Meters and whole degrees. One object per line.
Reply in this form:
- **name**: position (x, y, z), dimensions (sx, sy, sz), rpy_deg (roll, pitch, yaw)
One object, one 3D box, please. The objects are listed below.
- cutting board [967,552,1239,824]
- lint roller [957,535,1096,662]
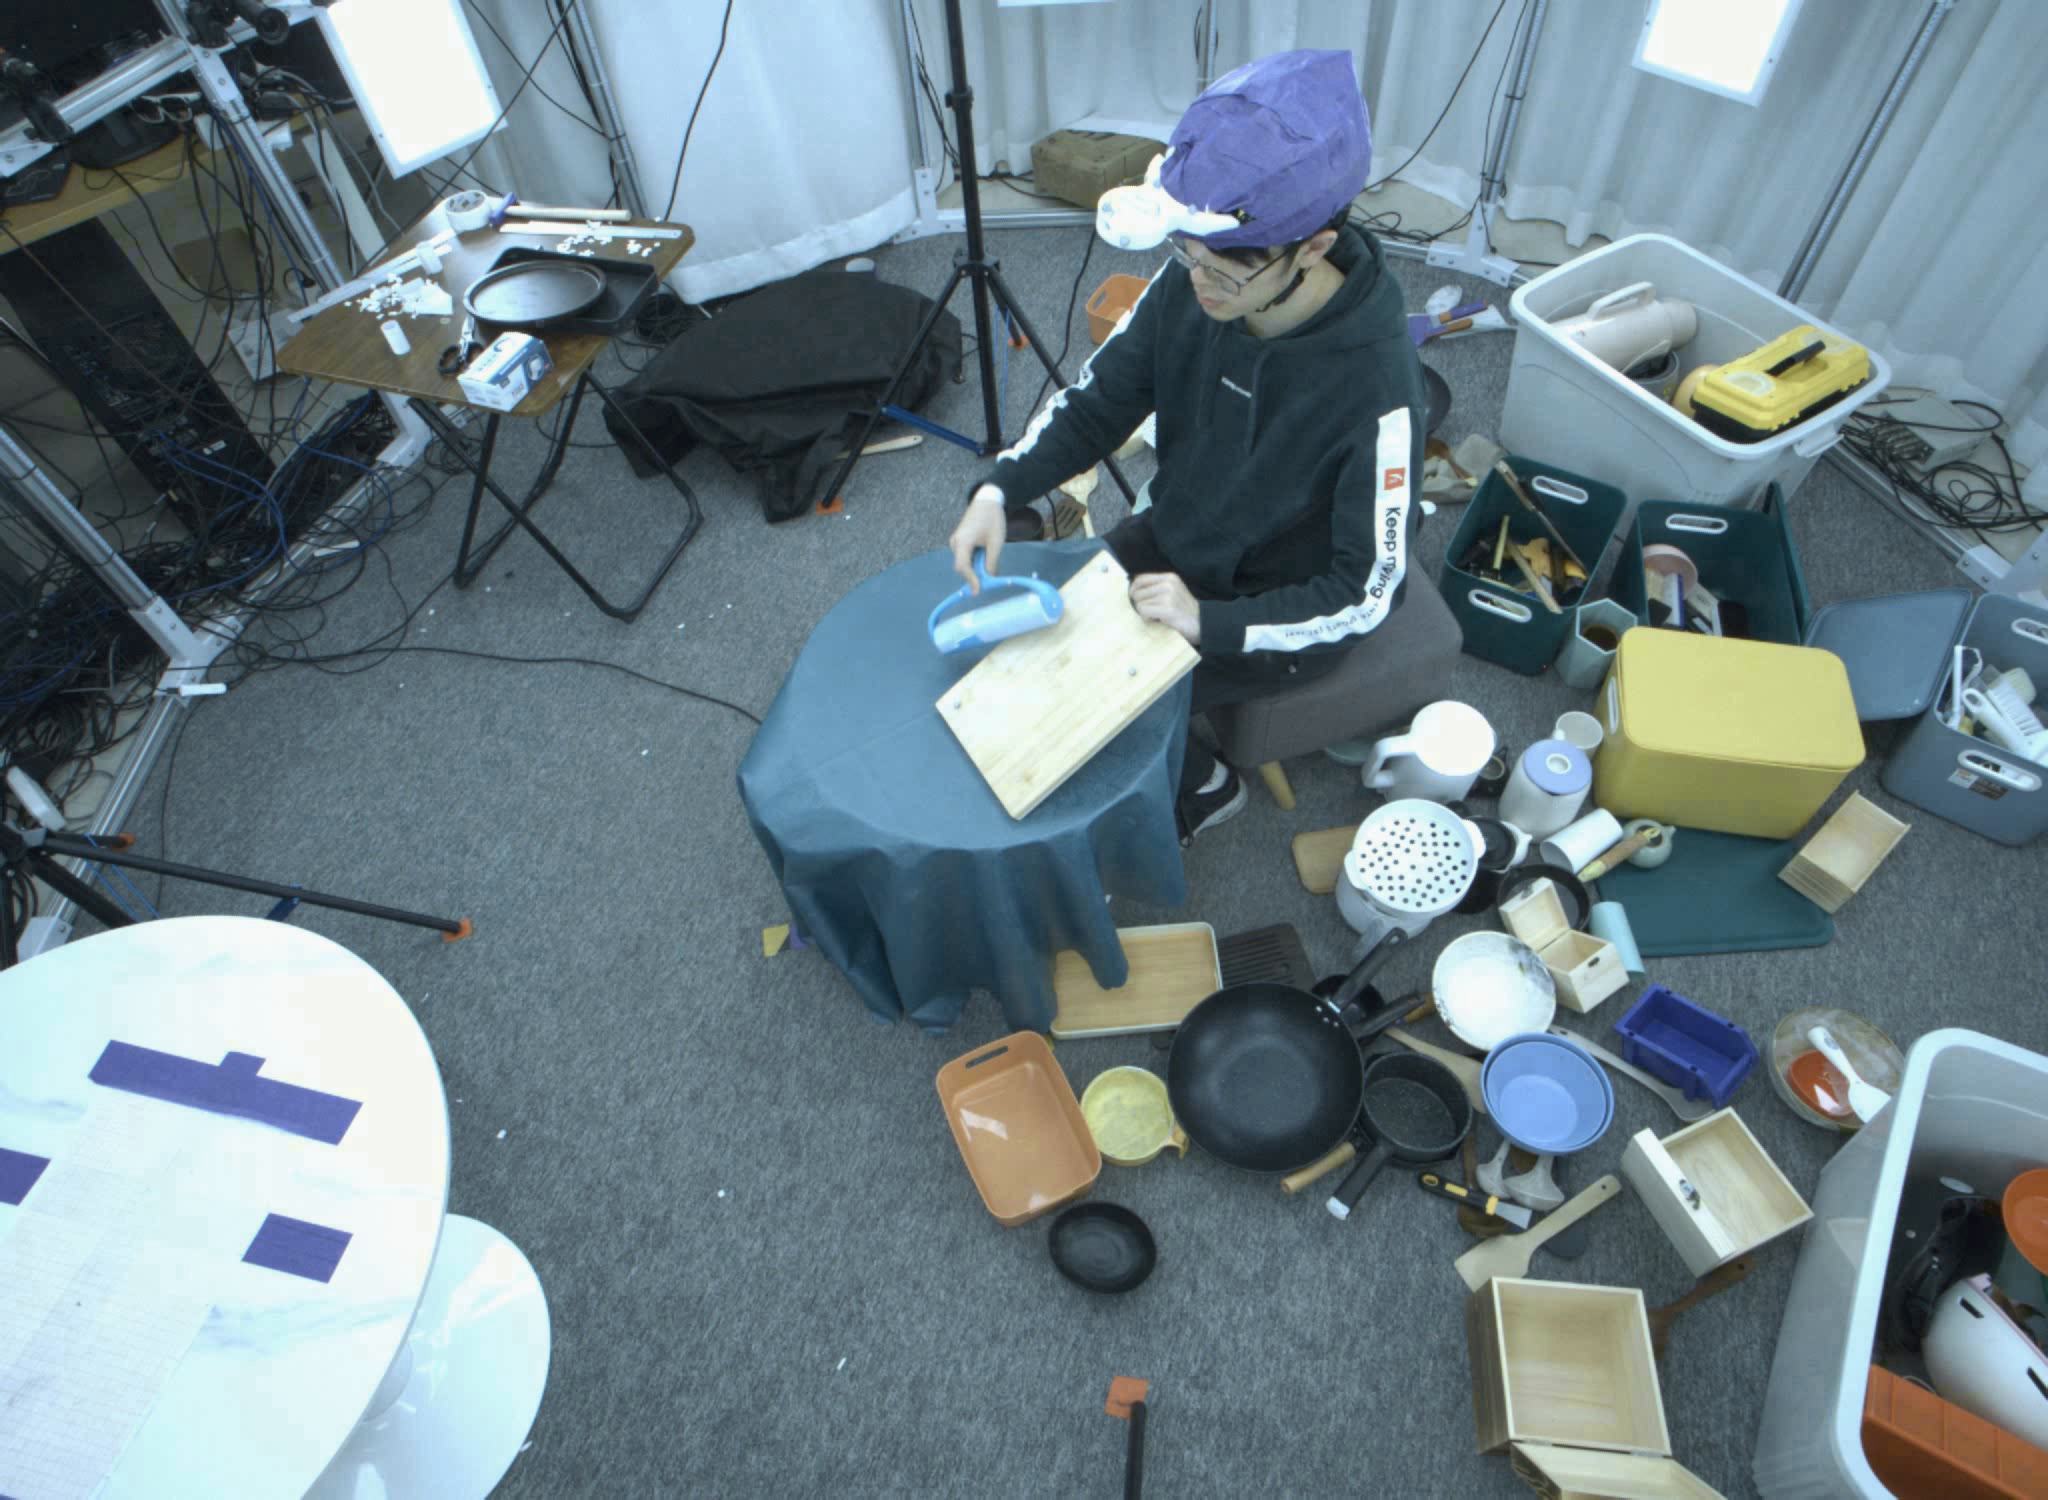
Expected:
- **cutting board**: position (0.100, -0.091, 1.734), dimensions (0.347, 0.024, 0.246), rpy_deg (-41, 58, 9)
- **lint roller**: position (-0.005, -0.232, 1.783), dimensions (0.225, 0.069, 0.179), rpy_deg (-14, 79, 33)
